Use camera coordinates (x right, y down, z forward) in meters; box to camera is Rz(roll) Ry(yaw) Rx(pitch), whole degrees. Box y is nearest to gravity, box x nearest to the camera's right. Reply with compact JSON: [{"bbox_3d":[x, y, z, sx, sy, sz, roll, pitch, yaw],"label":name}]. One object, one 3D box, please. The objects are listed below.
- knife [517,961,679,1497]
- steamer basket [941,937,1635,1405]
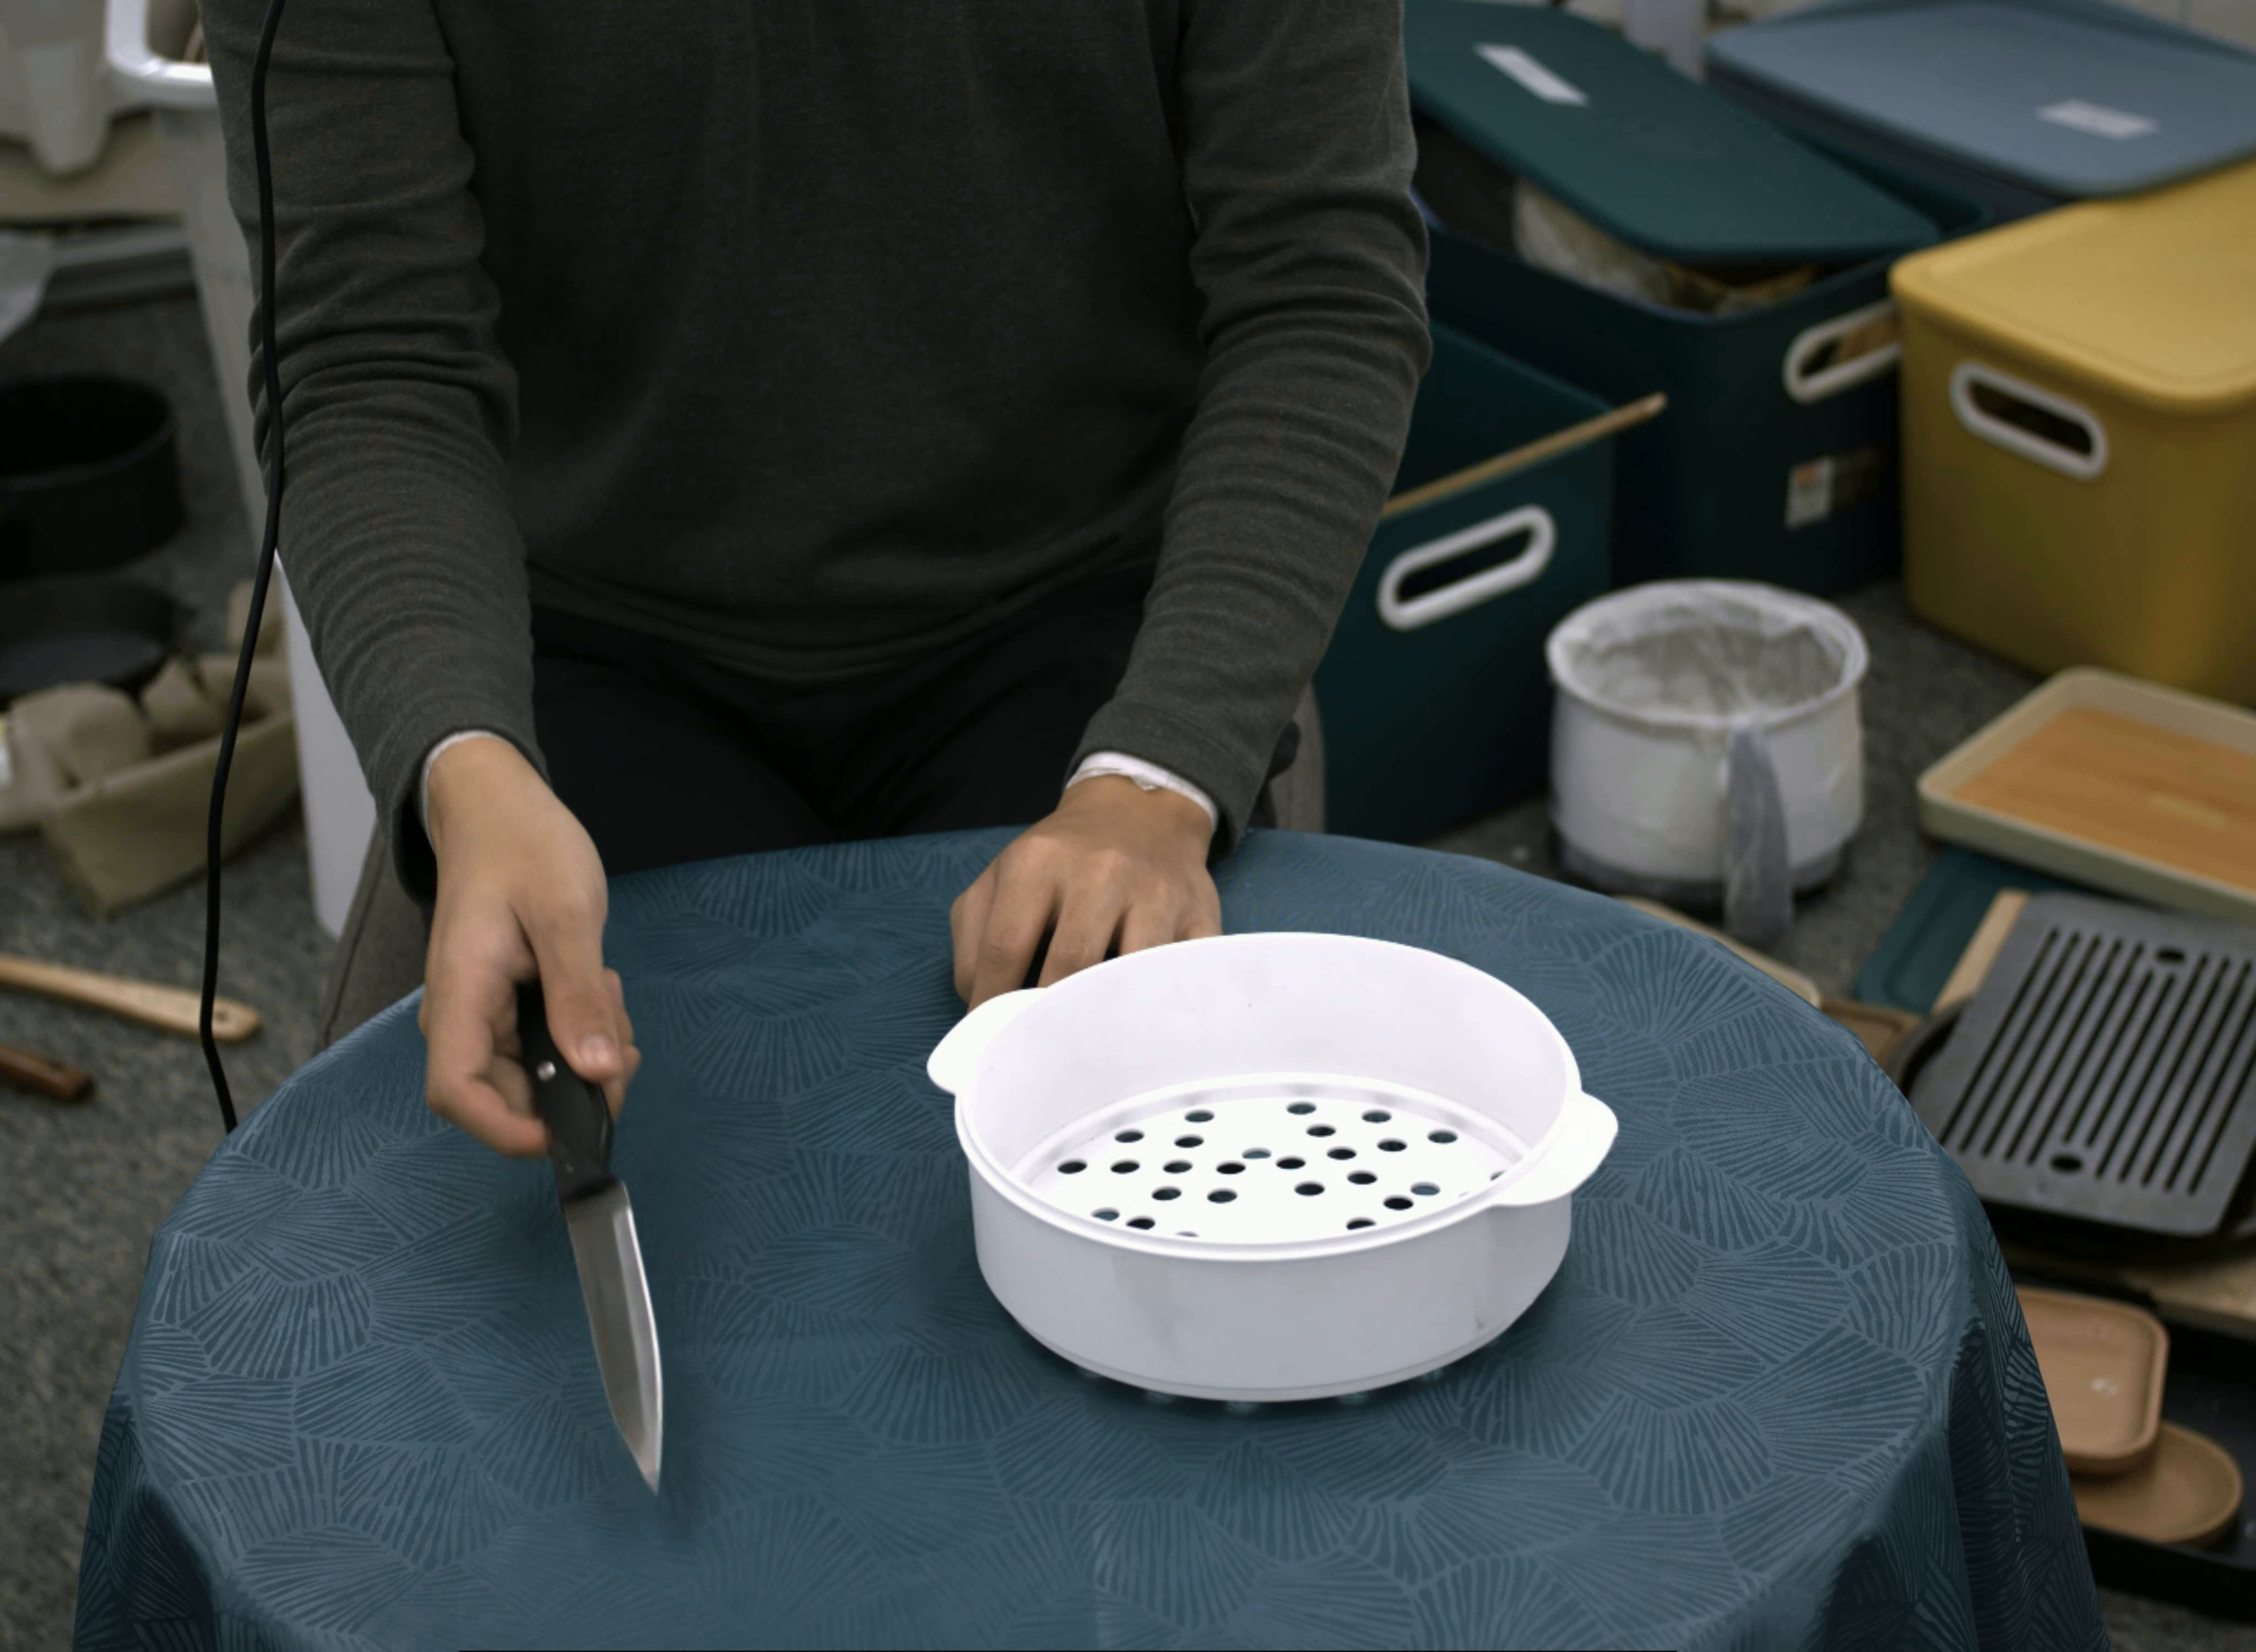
[{"bbox_3d":[-0.167,0.127,1.772,0.024,0.016,0.242,-31,41,9],"label":"knife"},{"bbox_3d":[0.050,0.110,1.805,0.229,0.068,0.205,10,29,25],"label":"steamer basket"}]
